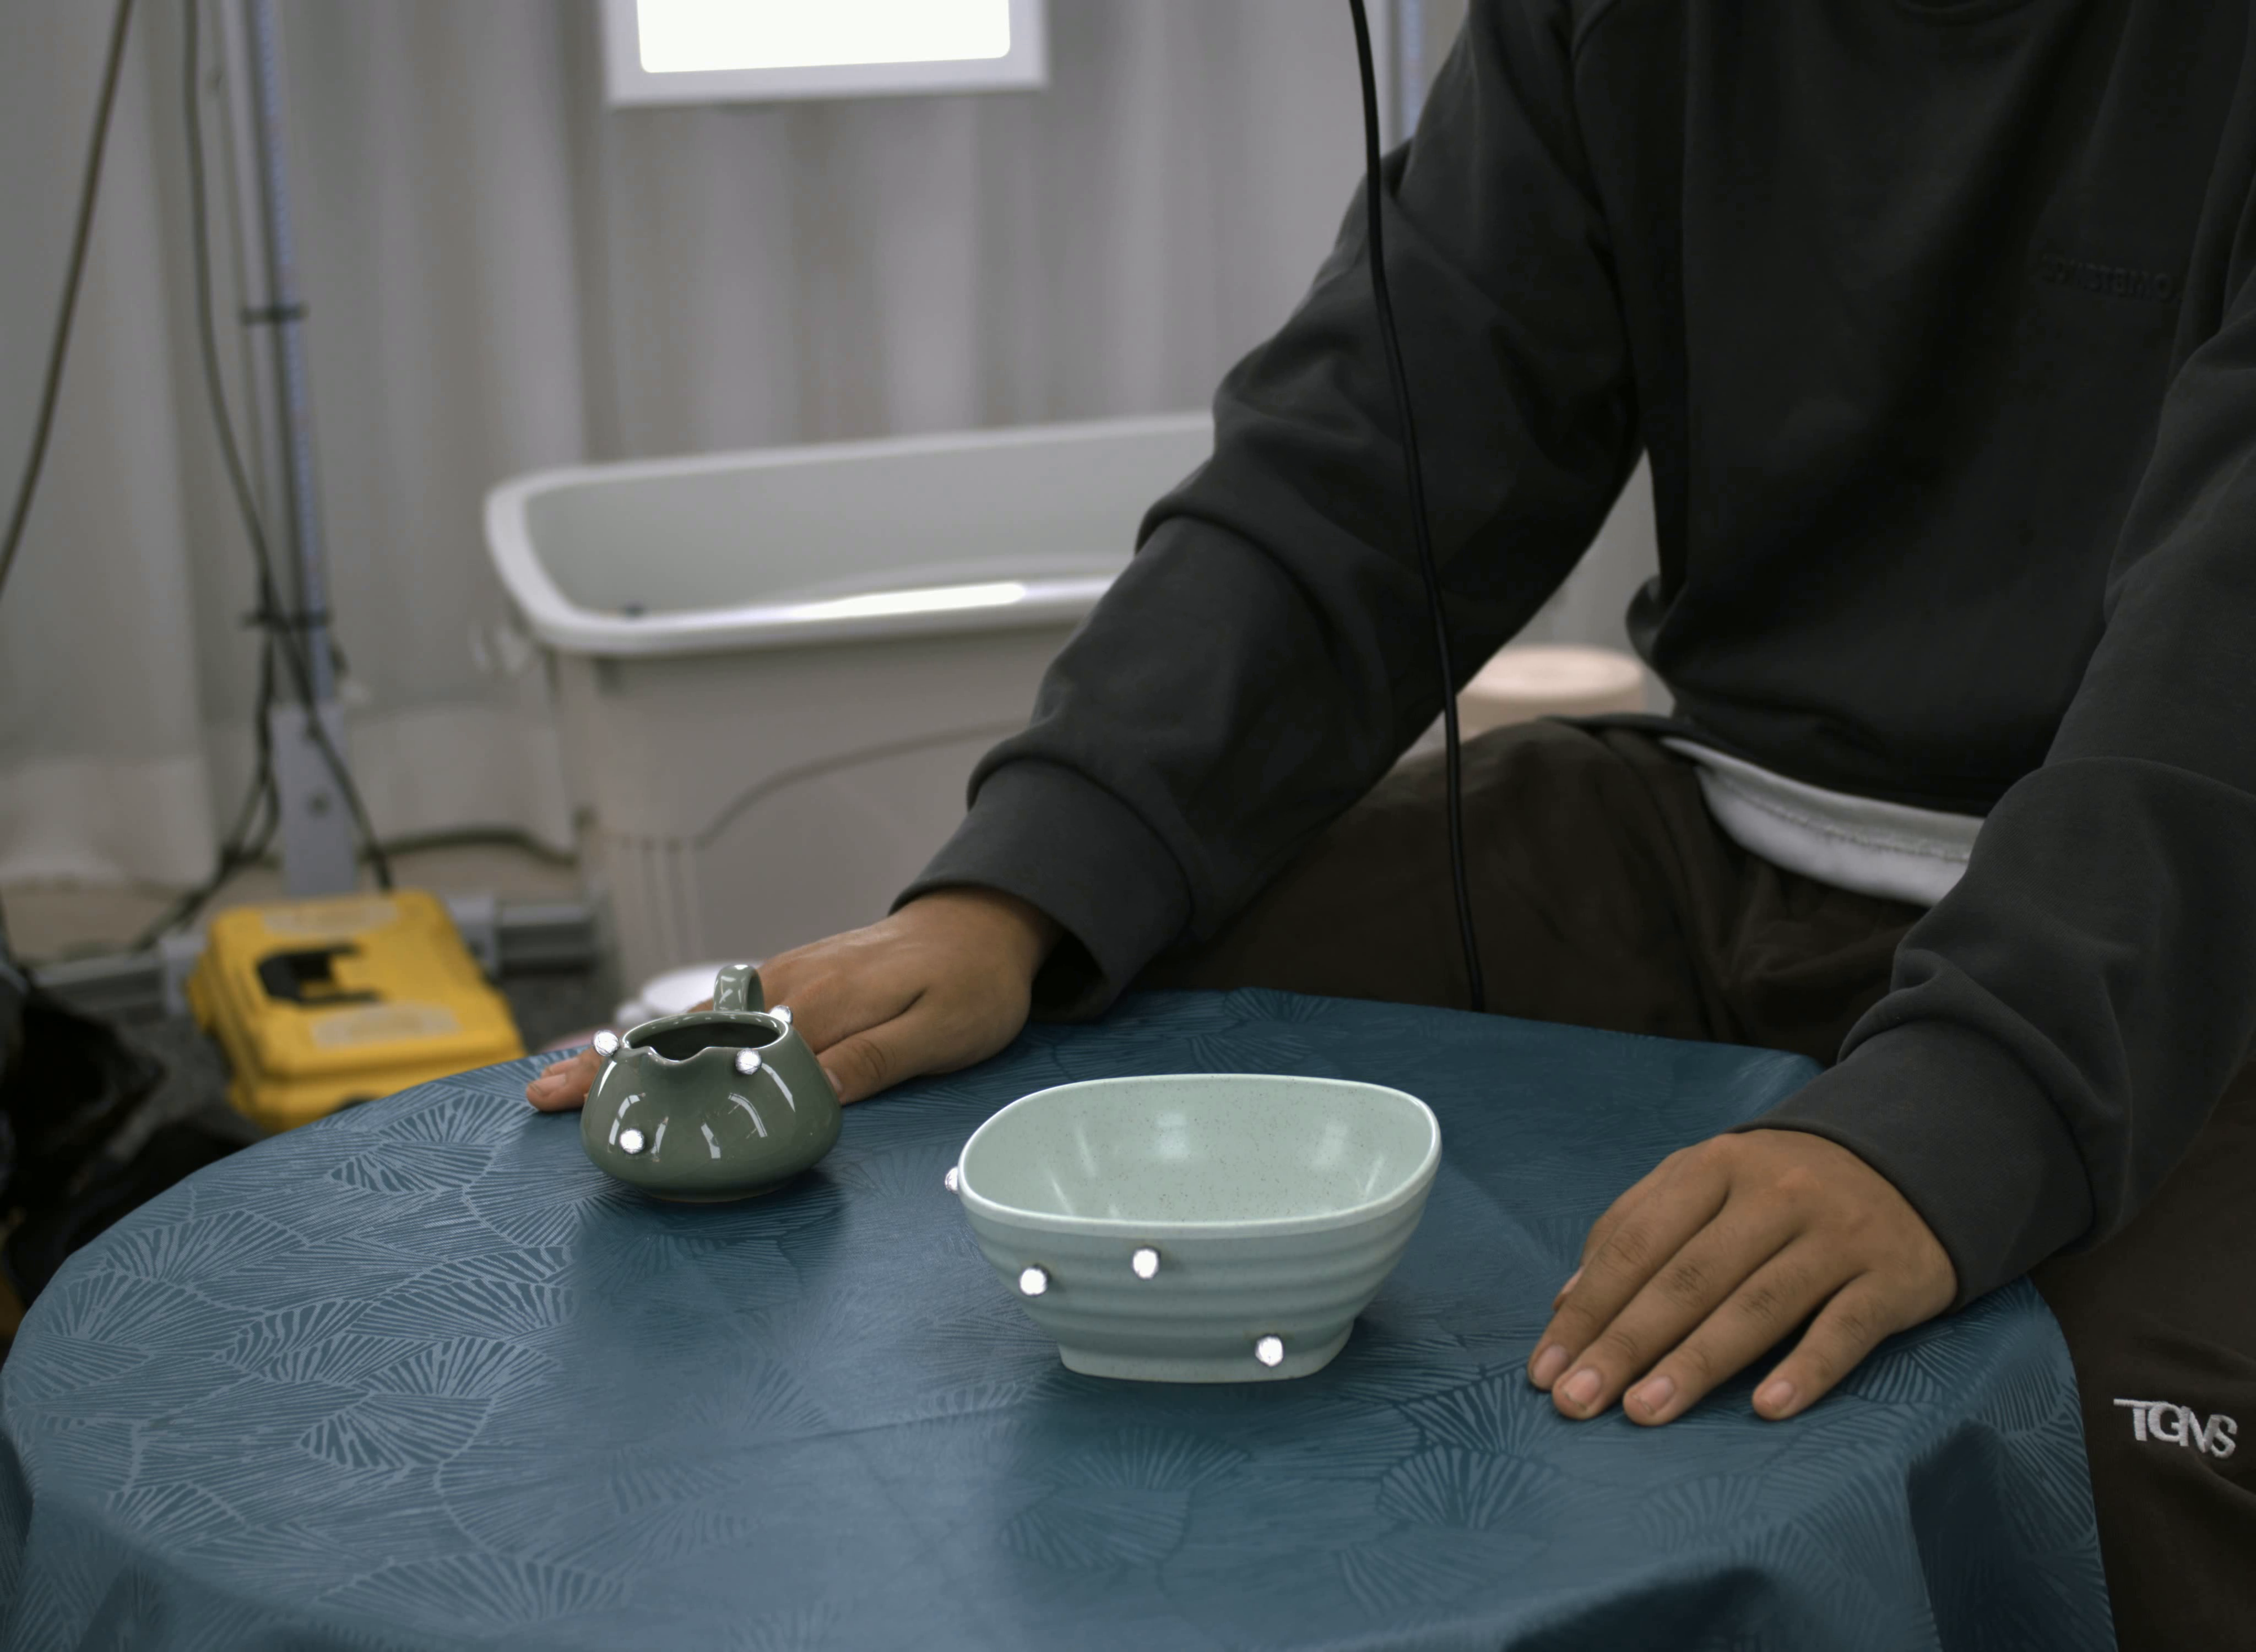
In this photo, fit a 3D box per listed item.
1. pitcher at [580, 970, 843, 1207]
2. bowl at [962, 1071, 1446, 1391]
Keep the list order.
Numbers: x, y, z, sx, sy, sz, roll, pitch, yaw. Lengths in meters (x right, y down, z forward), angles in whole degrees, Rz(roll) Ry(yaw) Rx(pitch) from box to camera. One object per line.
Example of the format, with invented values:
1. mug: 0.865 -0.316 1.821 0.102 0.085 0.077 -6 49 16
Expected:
1. pitcher: -0.132 0.085 1.748 0.084 0.056 0.113 0 14 7
2. bowl: 0.023 0.121 1.585 0.151 0.058 0.152 -3 16 1
